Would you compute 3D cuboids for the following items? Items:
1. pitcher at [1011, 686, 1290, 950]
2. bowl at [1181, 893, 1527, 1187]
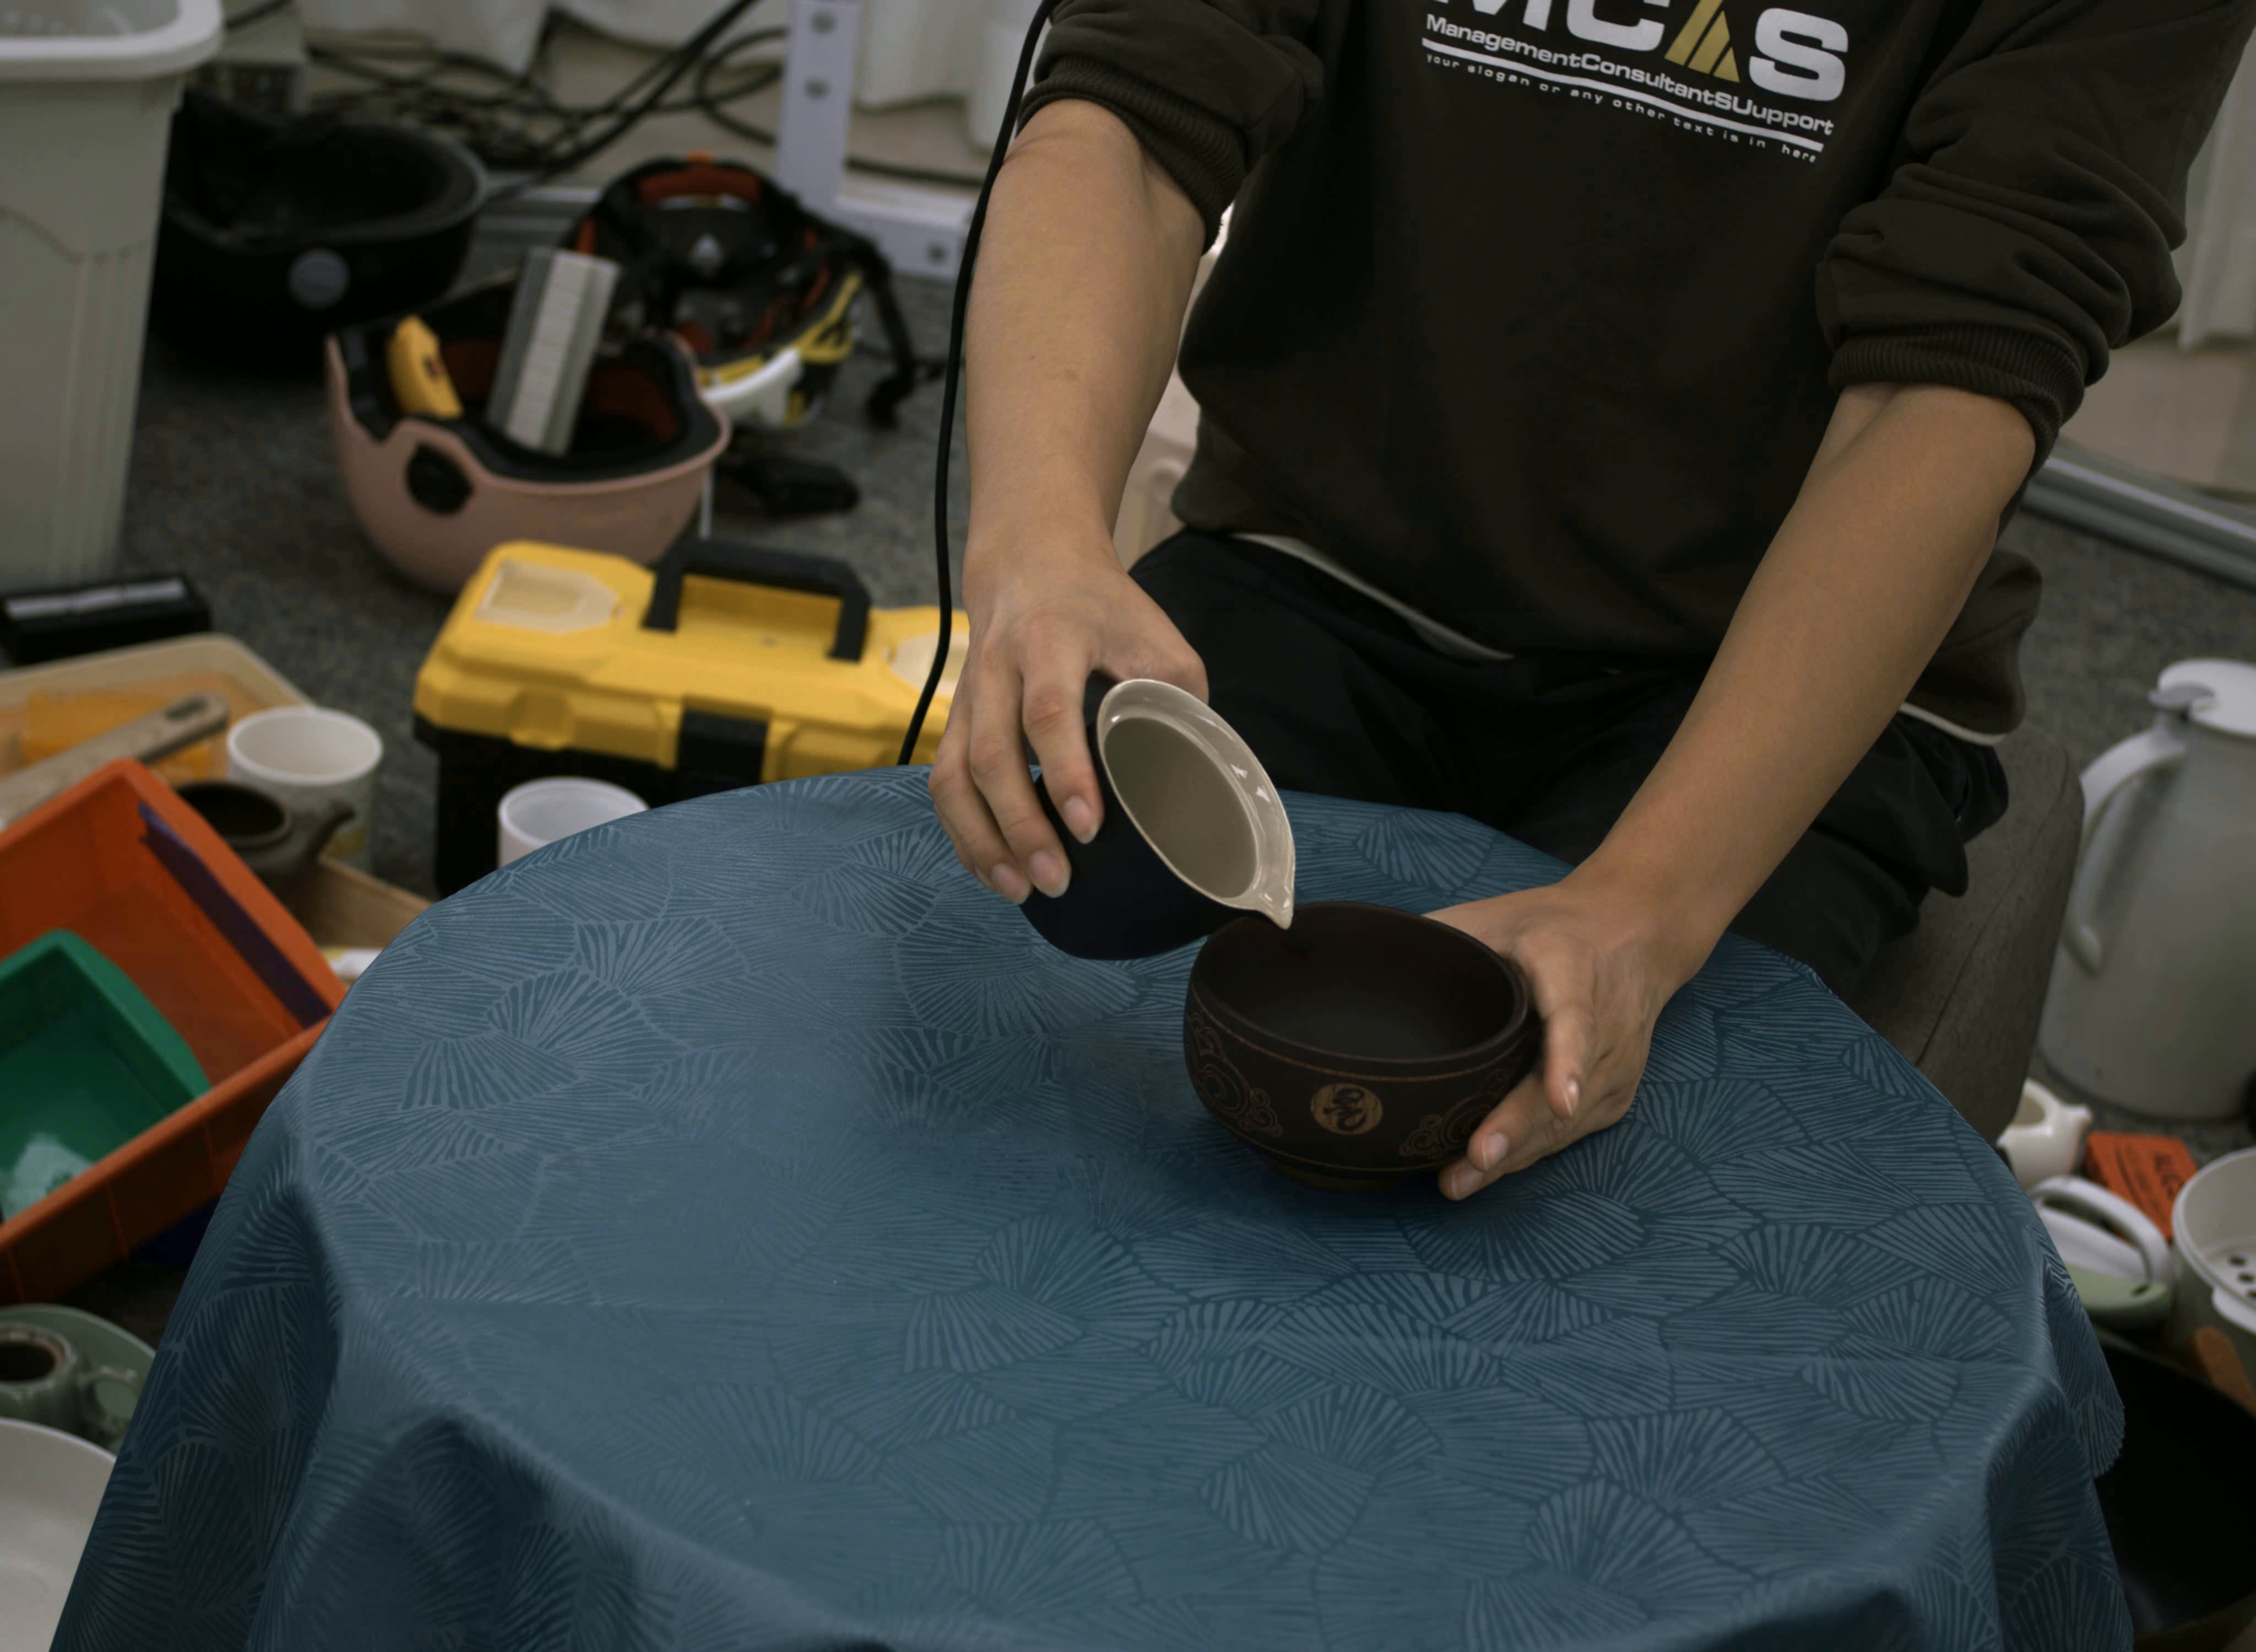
[{"bbox_3d":[0.004,0.007,1.834,0.096,0.071,0.083,57,29,6],"label":"pitcher"},{"bbox_3d":[0.076,0.080,1.831,0.117,0.069,0.119,4,28,-2],"label":"bowl"}]
